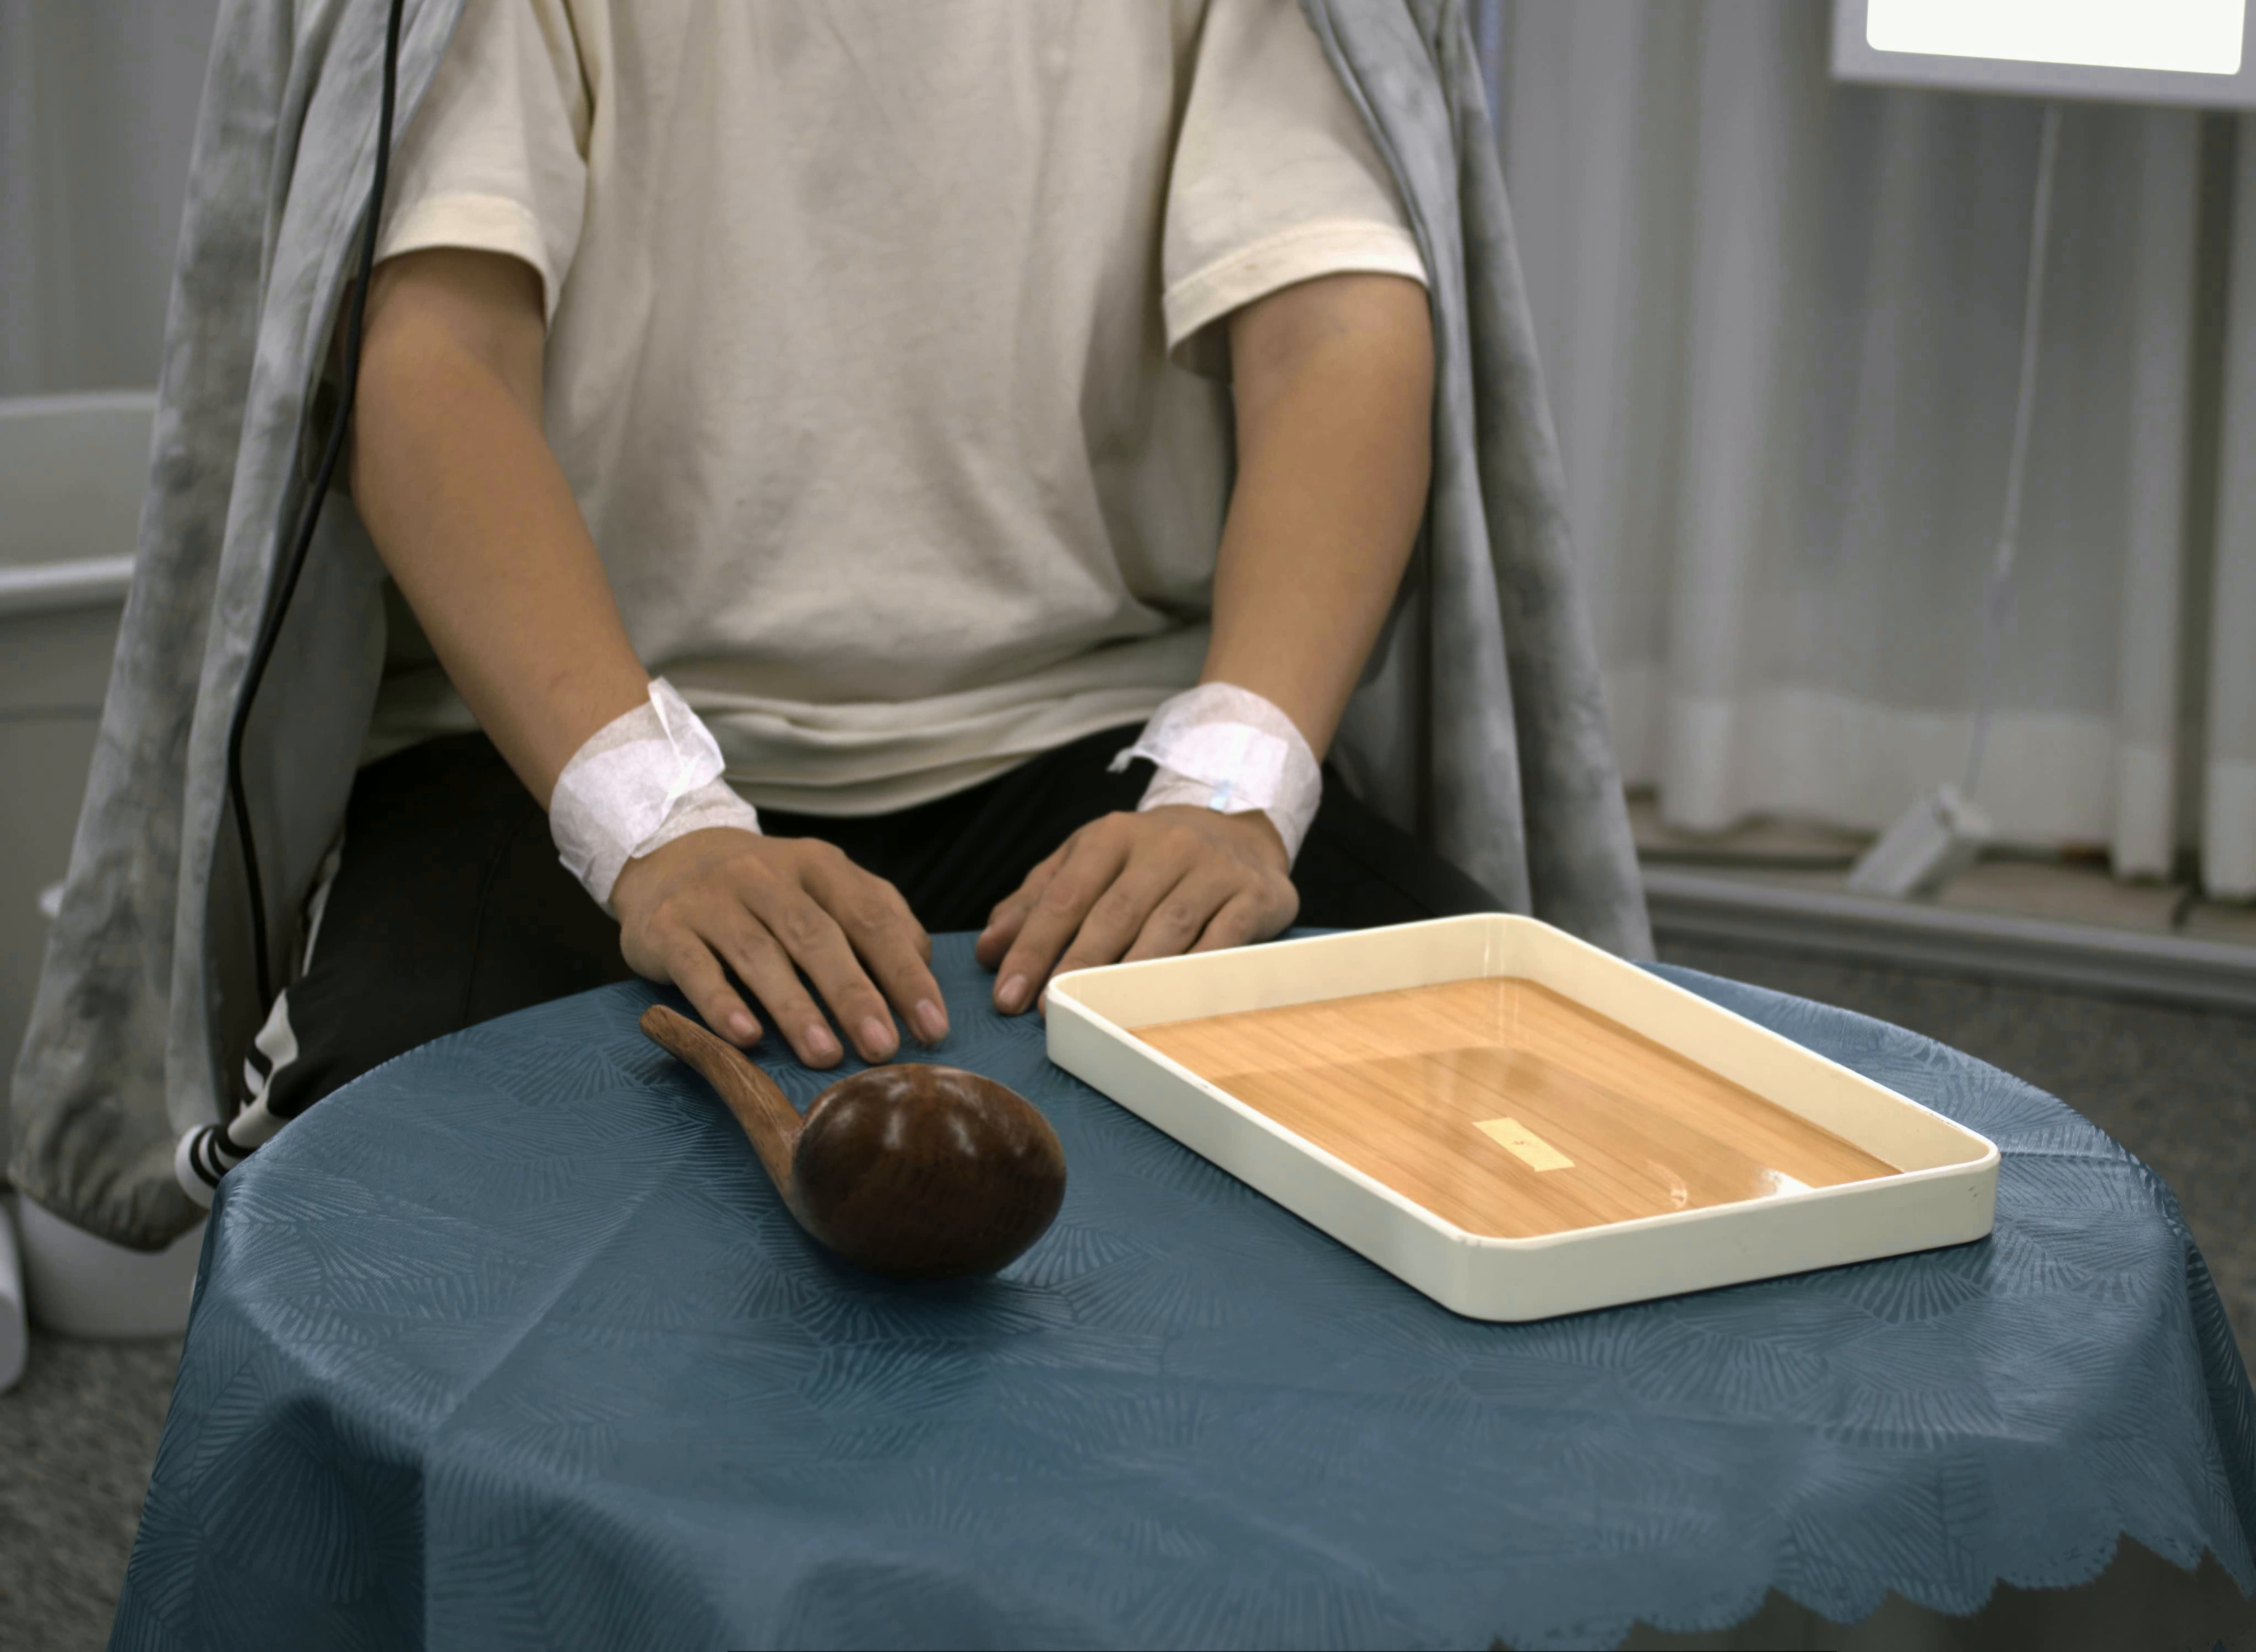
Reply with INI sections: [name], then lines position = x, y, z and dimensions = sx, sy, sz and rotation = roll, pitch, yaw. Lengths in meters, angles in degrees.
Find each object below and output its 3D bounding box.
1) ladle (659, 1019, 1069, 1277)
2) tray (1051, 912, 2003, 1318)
[ladle]
position = -0.091, 0.076, 1.623
dimensions = 0.082, 0.076, 0.271
rotation = 39, 0, -22
[tray]
position = 0.119, 0.087, 1.672
dimensions = 0.192, 0.027, 0.296
rotation = -7, 17, -26
